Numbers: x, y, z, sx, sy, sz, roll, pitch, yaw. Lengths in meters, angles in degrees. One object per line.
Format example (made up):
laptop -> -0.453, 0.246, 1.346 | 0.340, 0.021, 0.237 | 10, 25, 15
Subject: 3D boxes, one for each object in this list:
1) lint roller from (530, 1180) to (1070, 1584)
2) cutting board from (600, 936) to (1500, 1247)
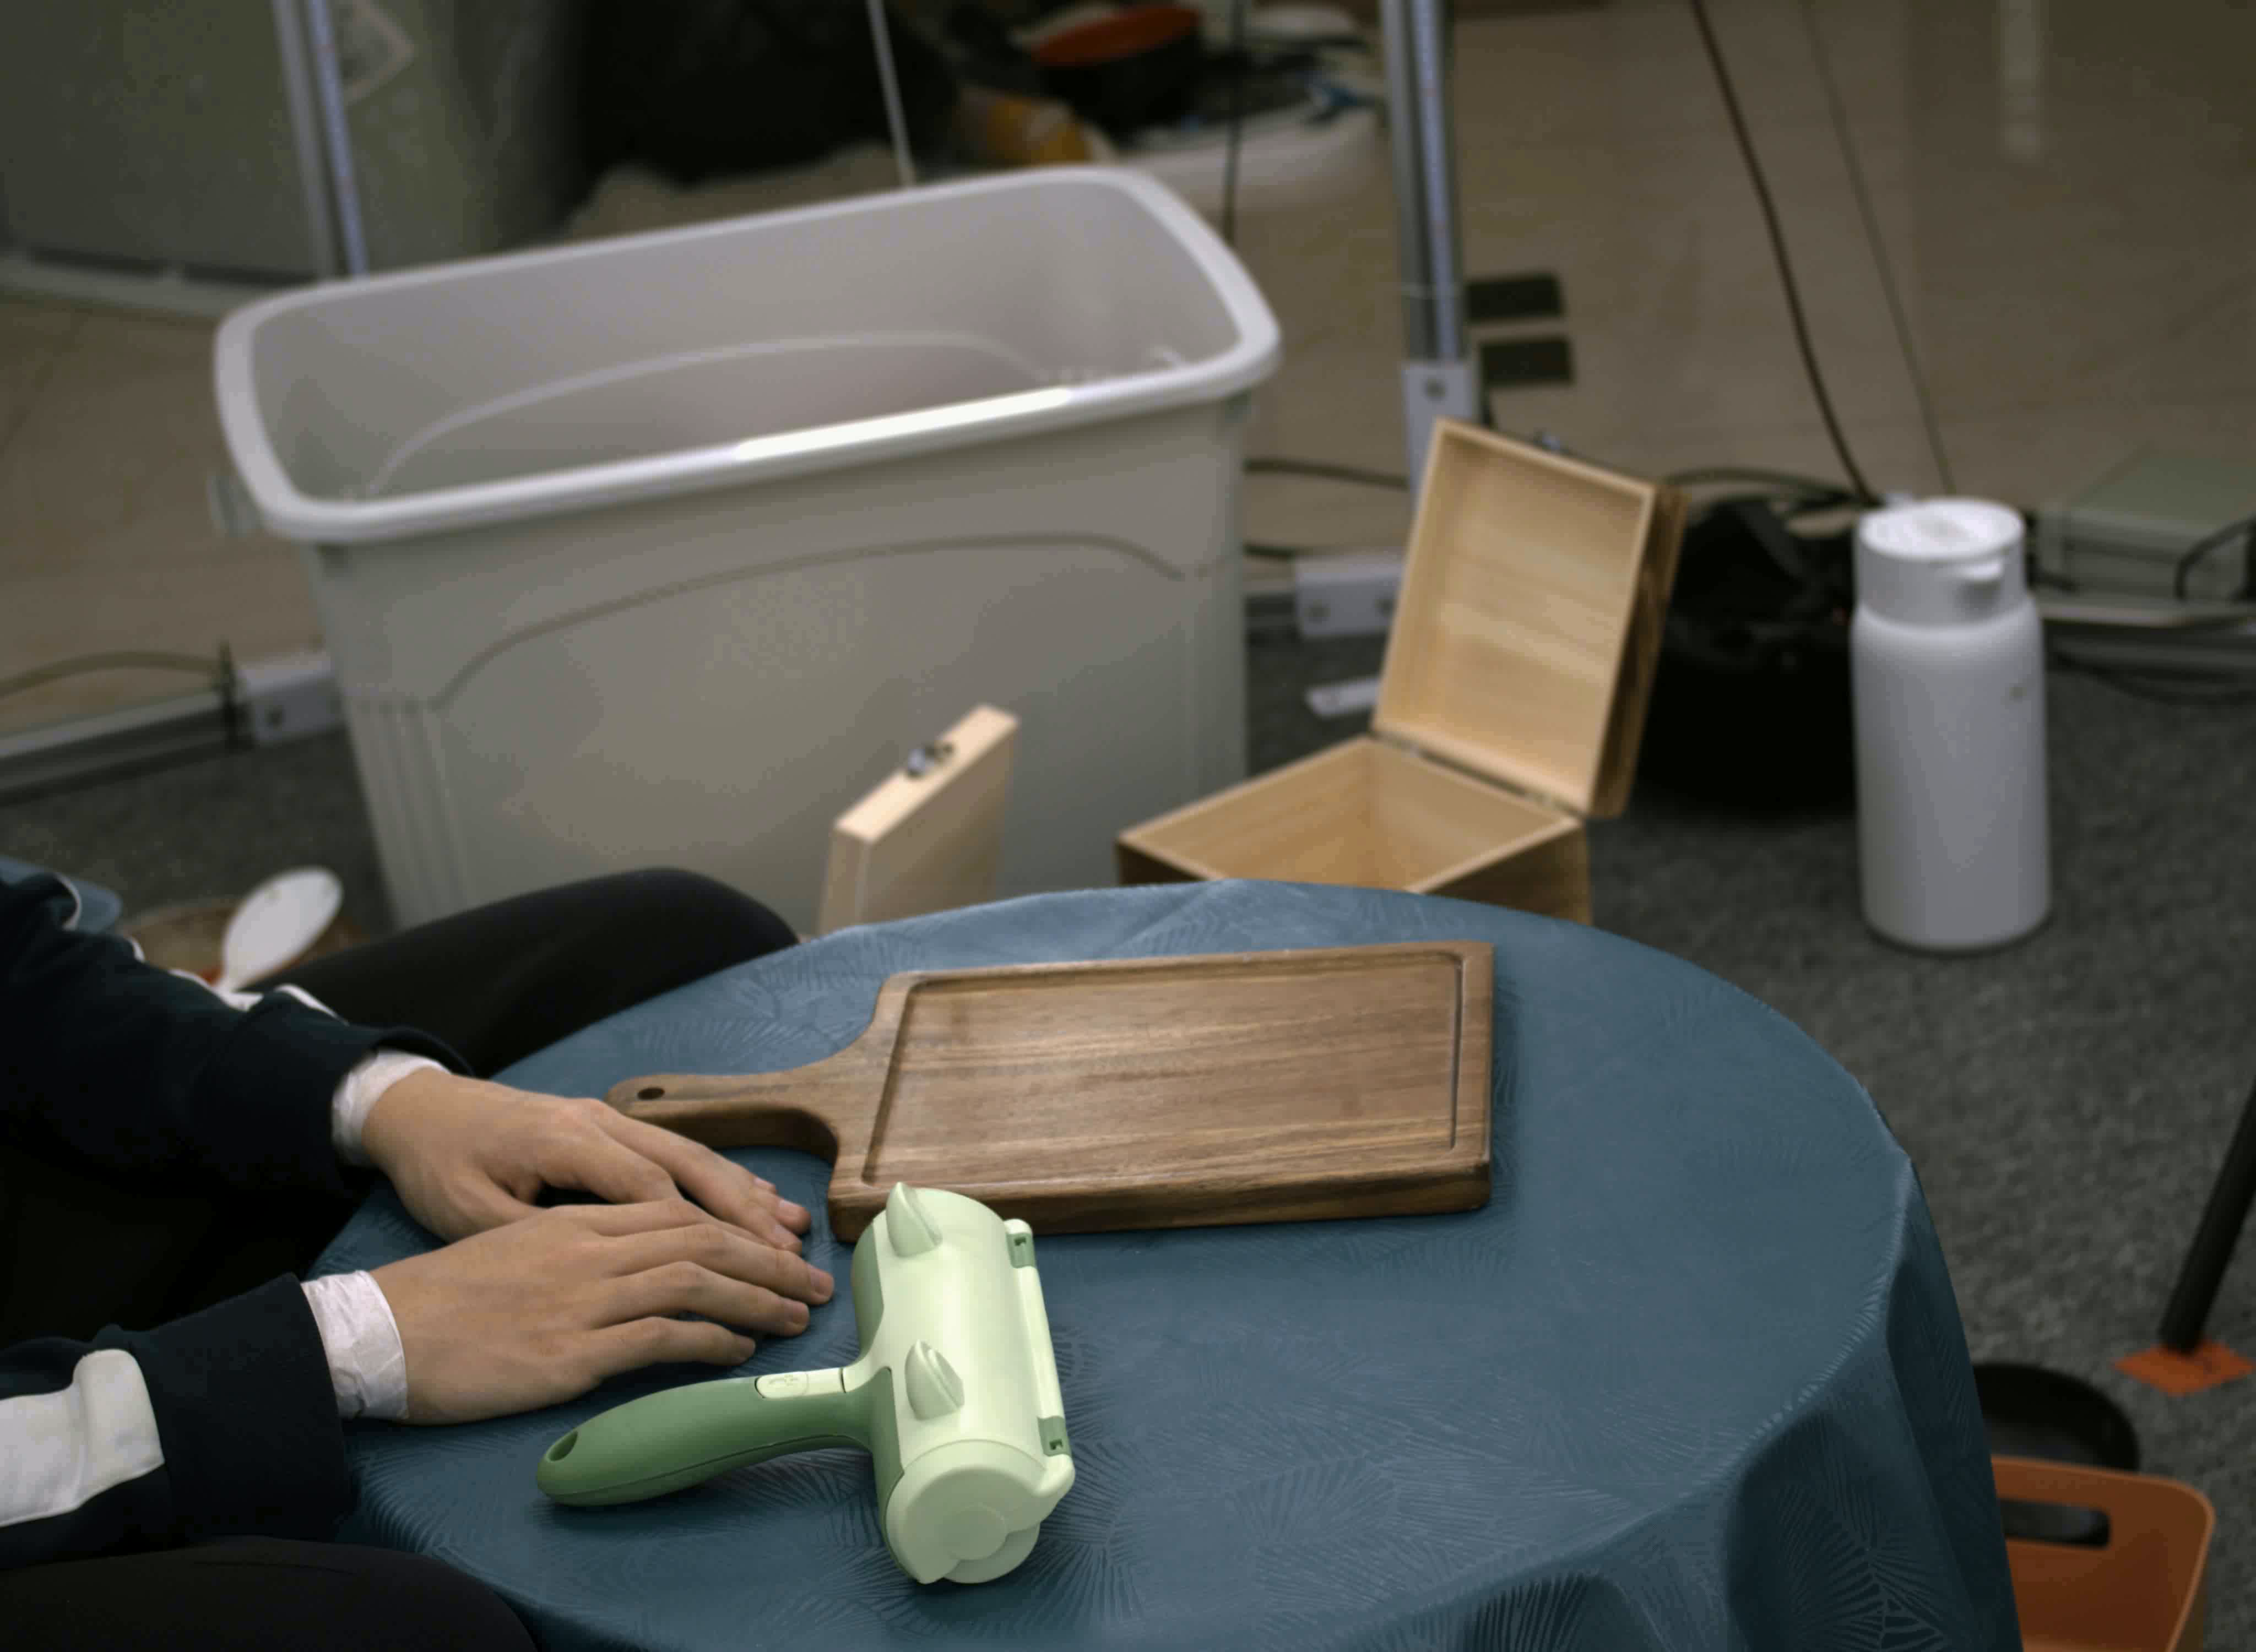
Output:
lint roller -> -0.118, 0.190, 1.971 | 0.183, 0.083, 0.195 | -4, 25, -4
cutting board -> -0.031, 0.104, 2.202 | 0.351, 0.023, 0.198 | -4, 25, 6
